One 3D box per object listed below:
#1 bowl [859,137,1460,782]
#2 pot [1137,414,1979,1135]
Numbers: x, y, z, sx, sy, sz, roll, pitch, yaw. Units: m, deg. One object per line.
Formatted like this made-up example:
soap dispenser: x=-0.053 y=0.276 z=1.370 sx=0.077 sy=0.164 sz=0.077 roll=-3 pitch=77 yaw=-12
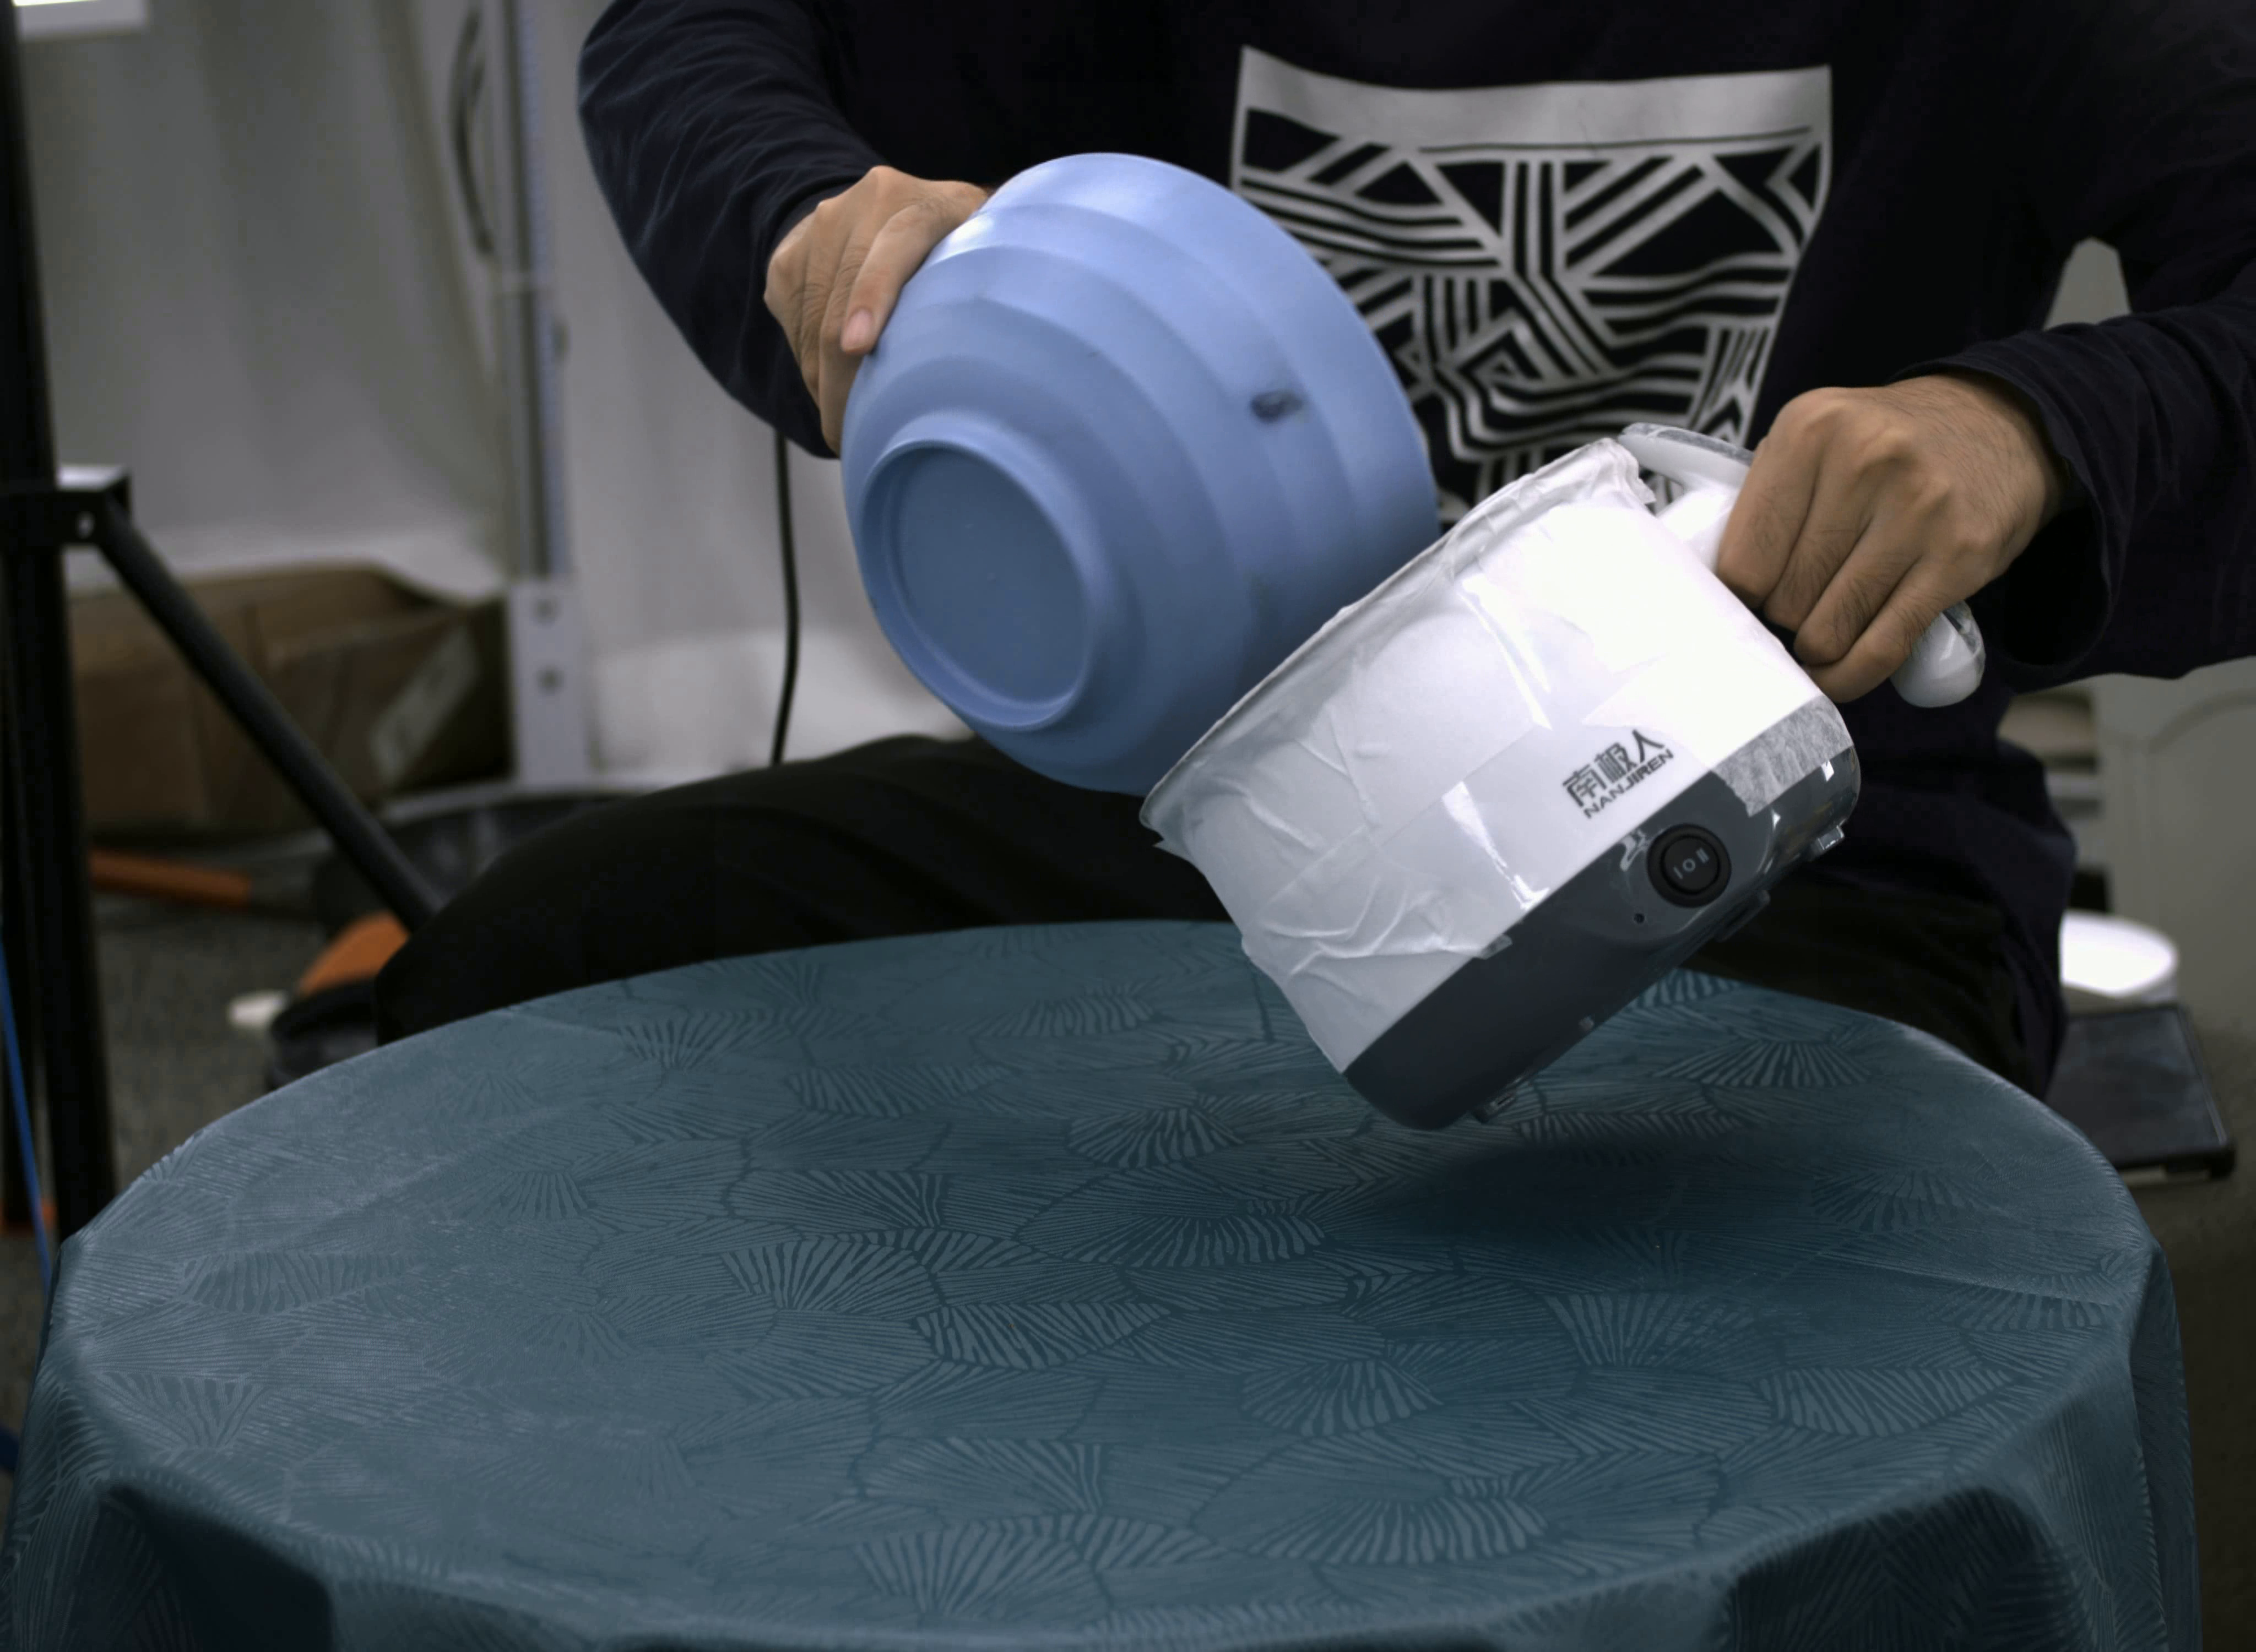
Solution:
bowl: x=-0.009 y=-0.090 z=1.547 sx=0.201 sy=0.195 sz=0.094 roll=13 pitch=36 yaw=43
pot: x=0.132 y=-0.023 z=1.540 sx=0.232 sy=0.137 sz=0.179 roll=-37 pitch=-4 yaw=-15
